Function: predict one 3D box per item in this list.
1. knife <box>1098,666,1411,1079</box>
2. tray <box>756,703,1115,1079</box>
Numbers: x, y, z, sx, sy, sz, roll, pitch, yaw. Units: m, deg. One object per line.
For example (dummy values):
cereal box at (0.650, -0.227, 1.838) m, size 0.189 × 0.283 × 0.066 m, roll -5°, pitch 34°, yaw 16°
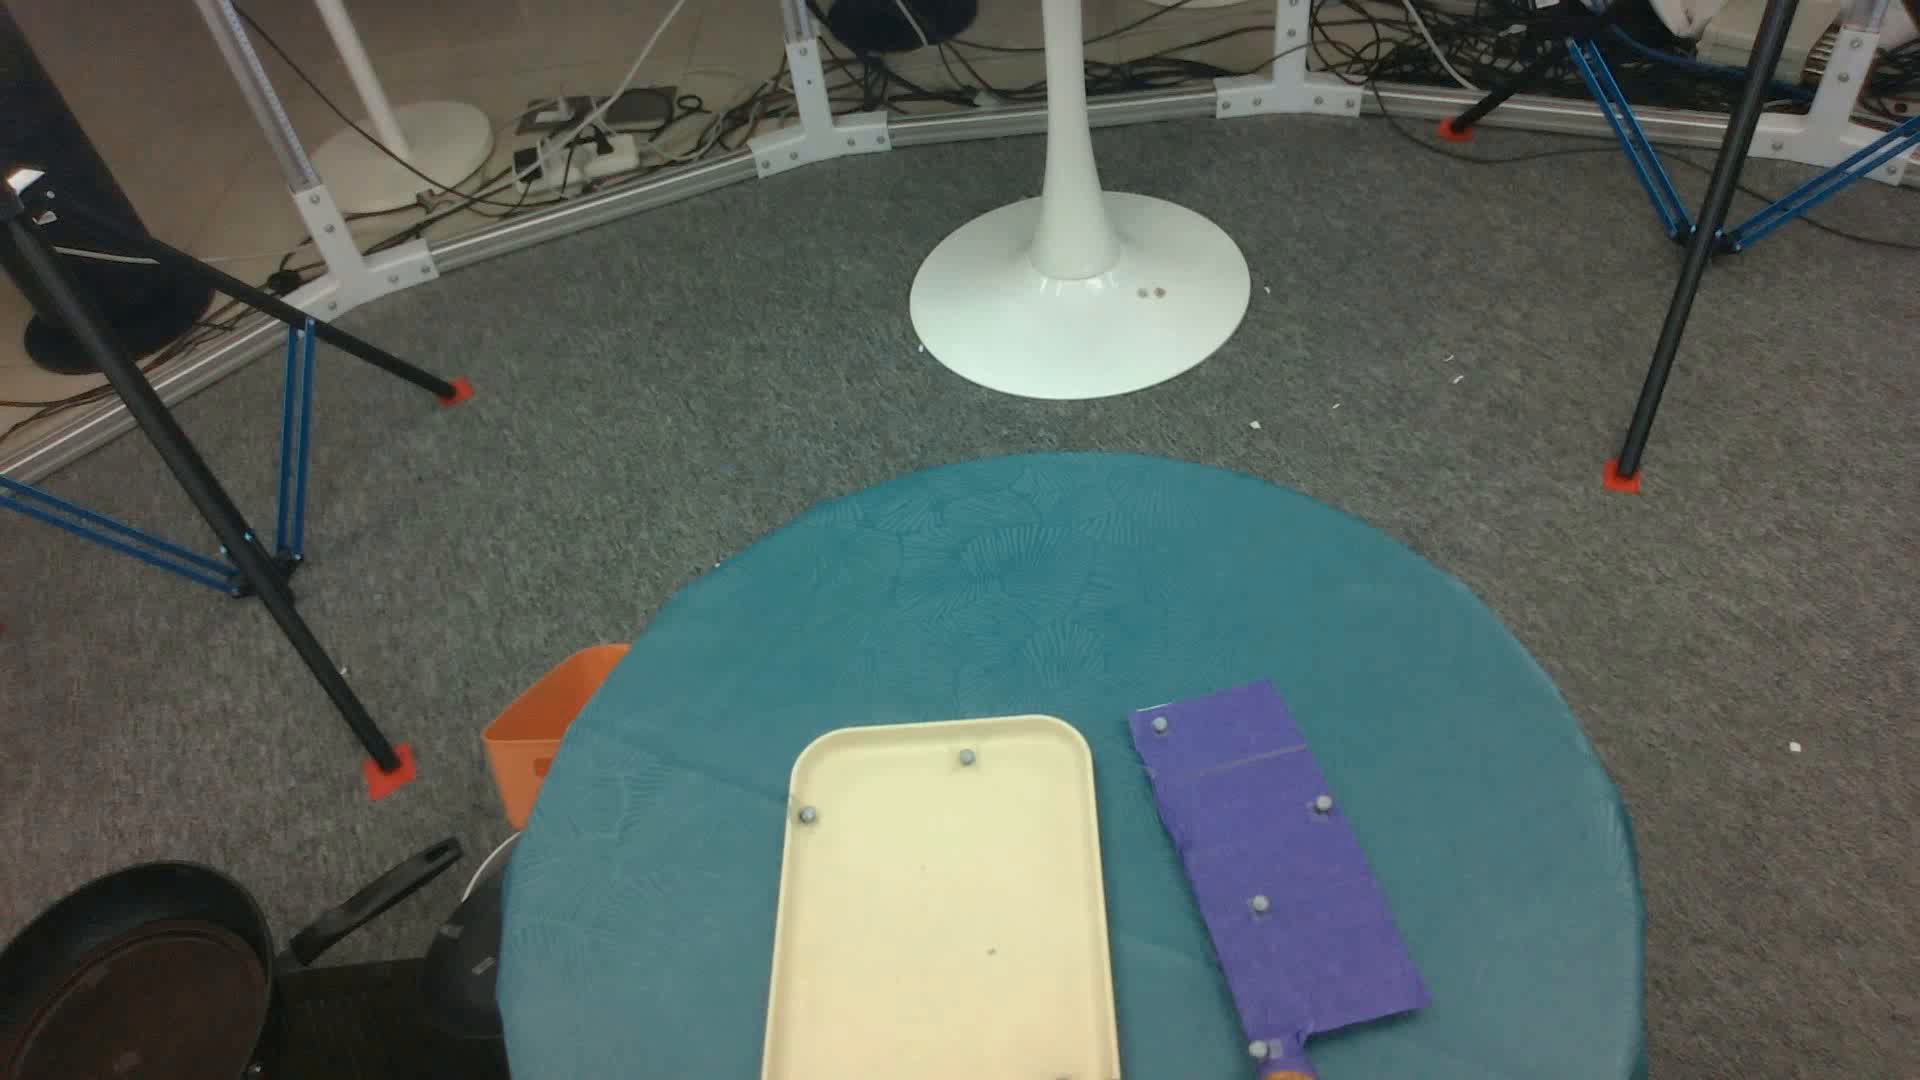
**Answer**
knife at (0.163, 0.184, 0.687) m, size 0.104 × 0.032 × 0.316 m, roll -14°, pitch 46°, yaw -5°
tray at (-0.014, 0.190, 0.711) m, size 0.171 × 0.017 × 0.241 m, roll -4°, pitch 47°, yaw 3°
